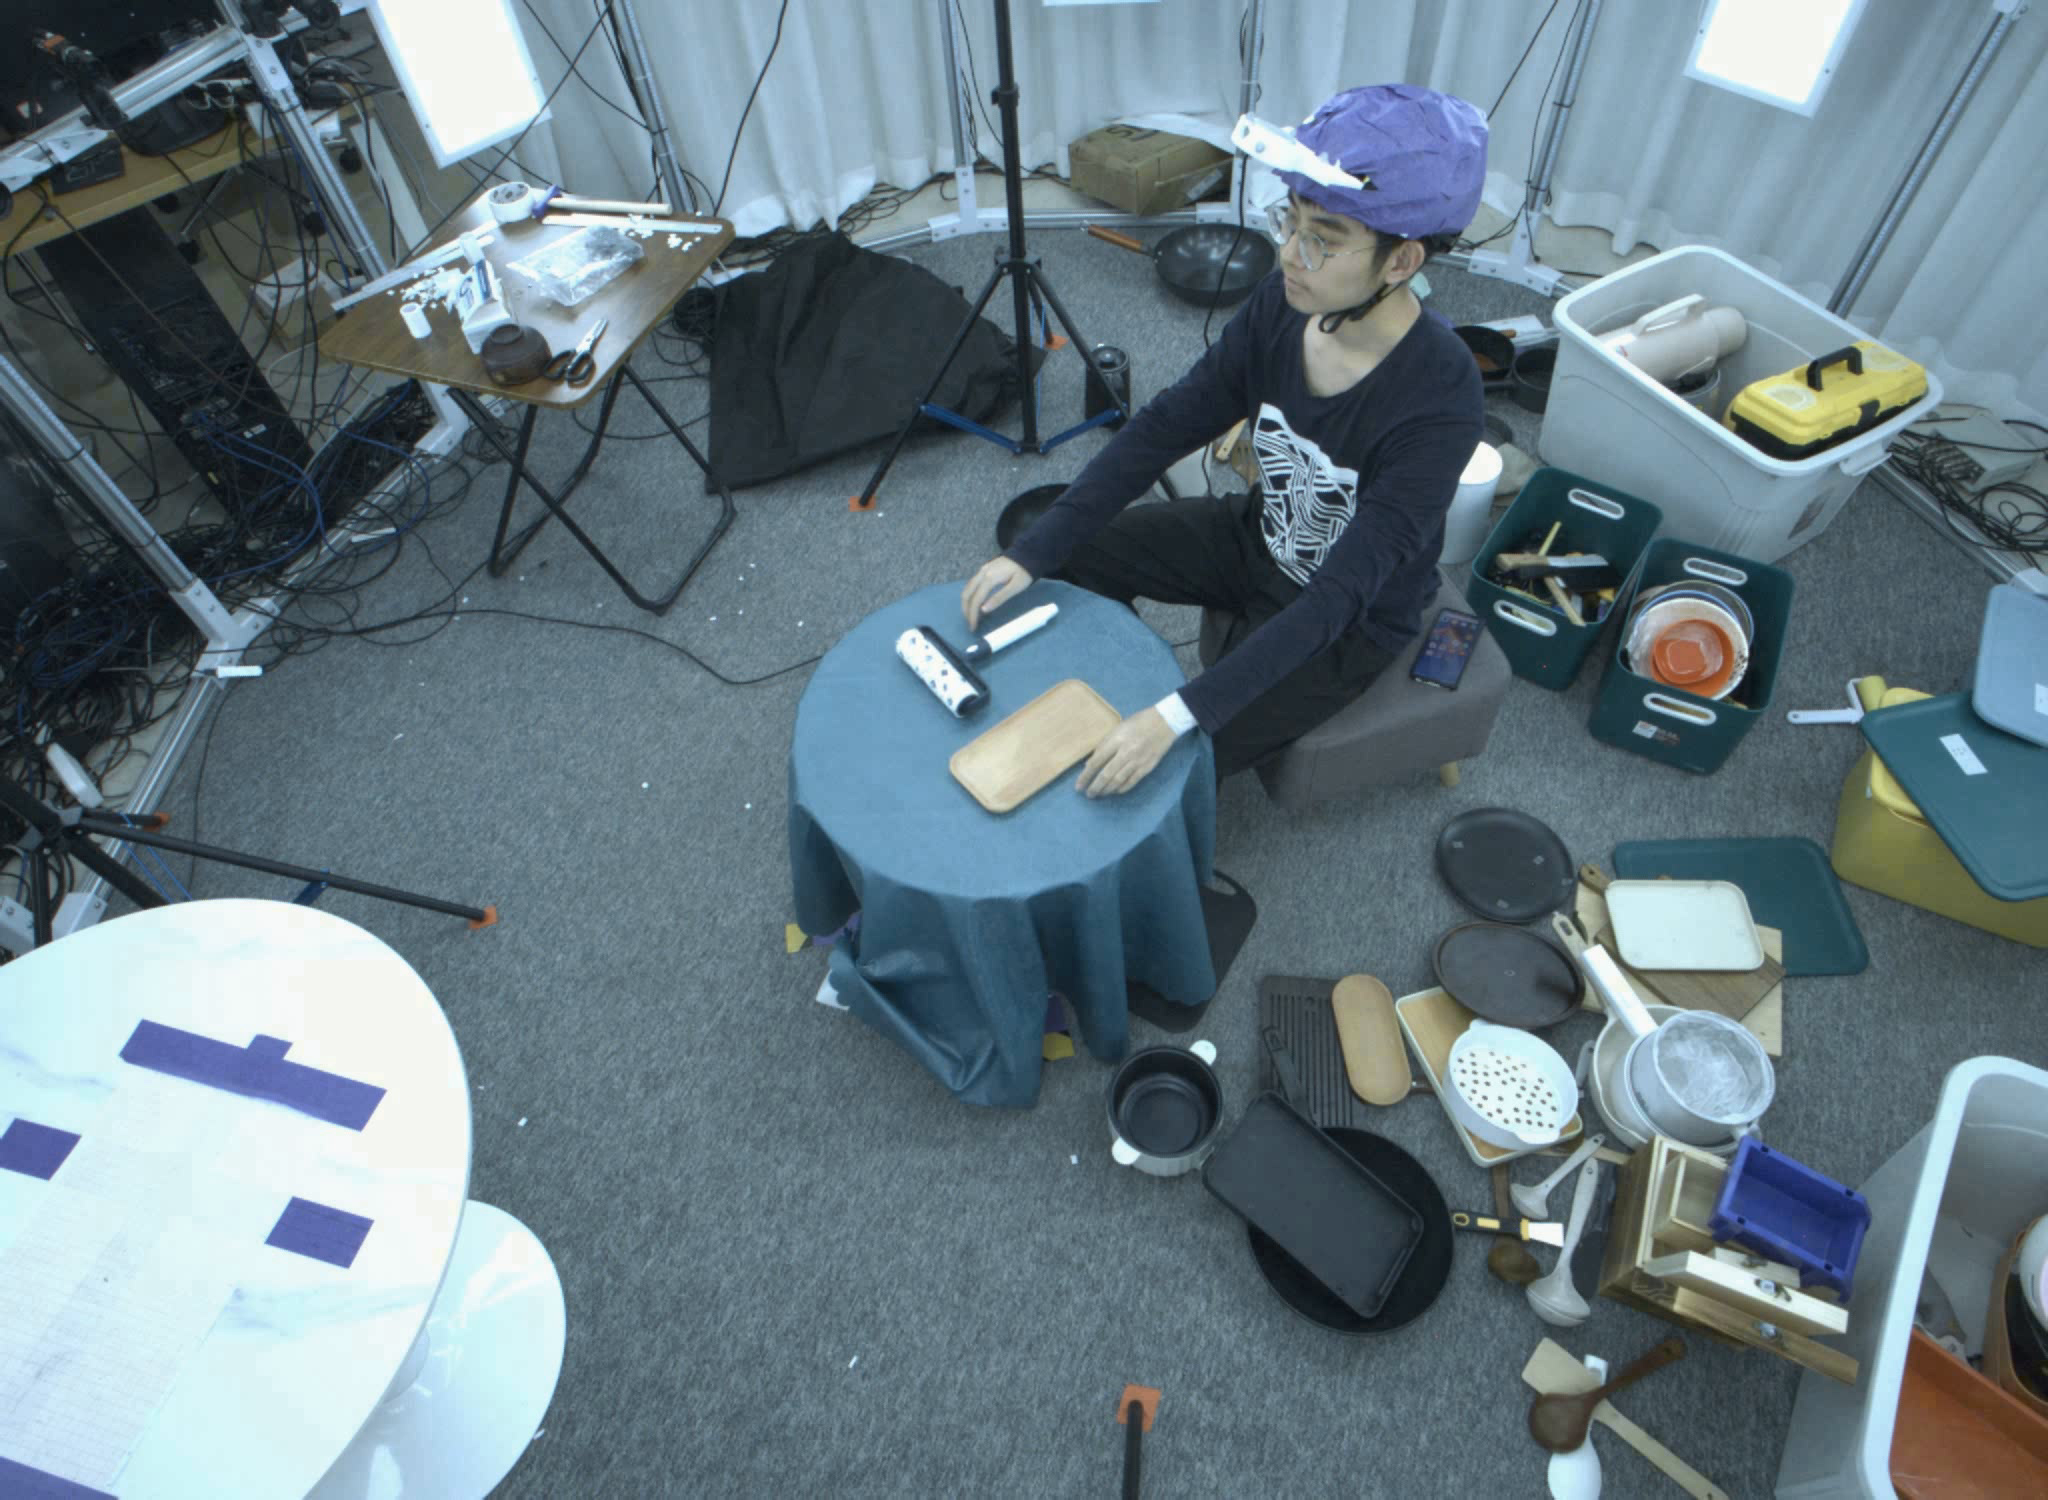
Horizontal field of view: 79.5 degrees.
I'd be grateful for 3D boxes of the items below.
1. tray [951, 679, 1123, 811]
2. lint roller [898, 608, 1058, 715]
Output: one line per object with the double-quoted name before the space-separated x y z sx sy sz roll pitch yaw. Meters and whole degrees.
"tray" 0.020 -0.009 1.791 0.253 0.023 0.128 -33 63 -21
"lint roller" -0.051 -0.167 1.891 0.249 0.051 0.173 -31 59 -23
